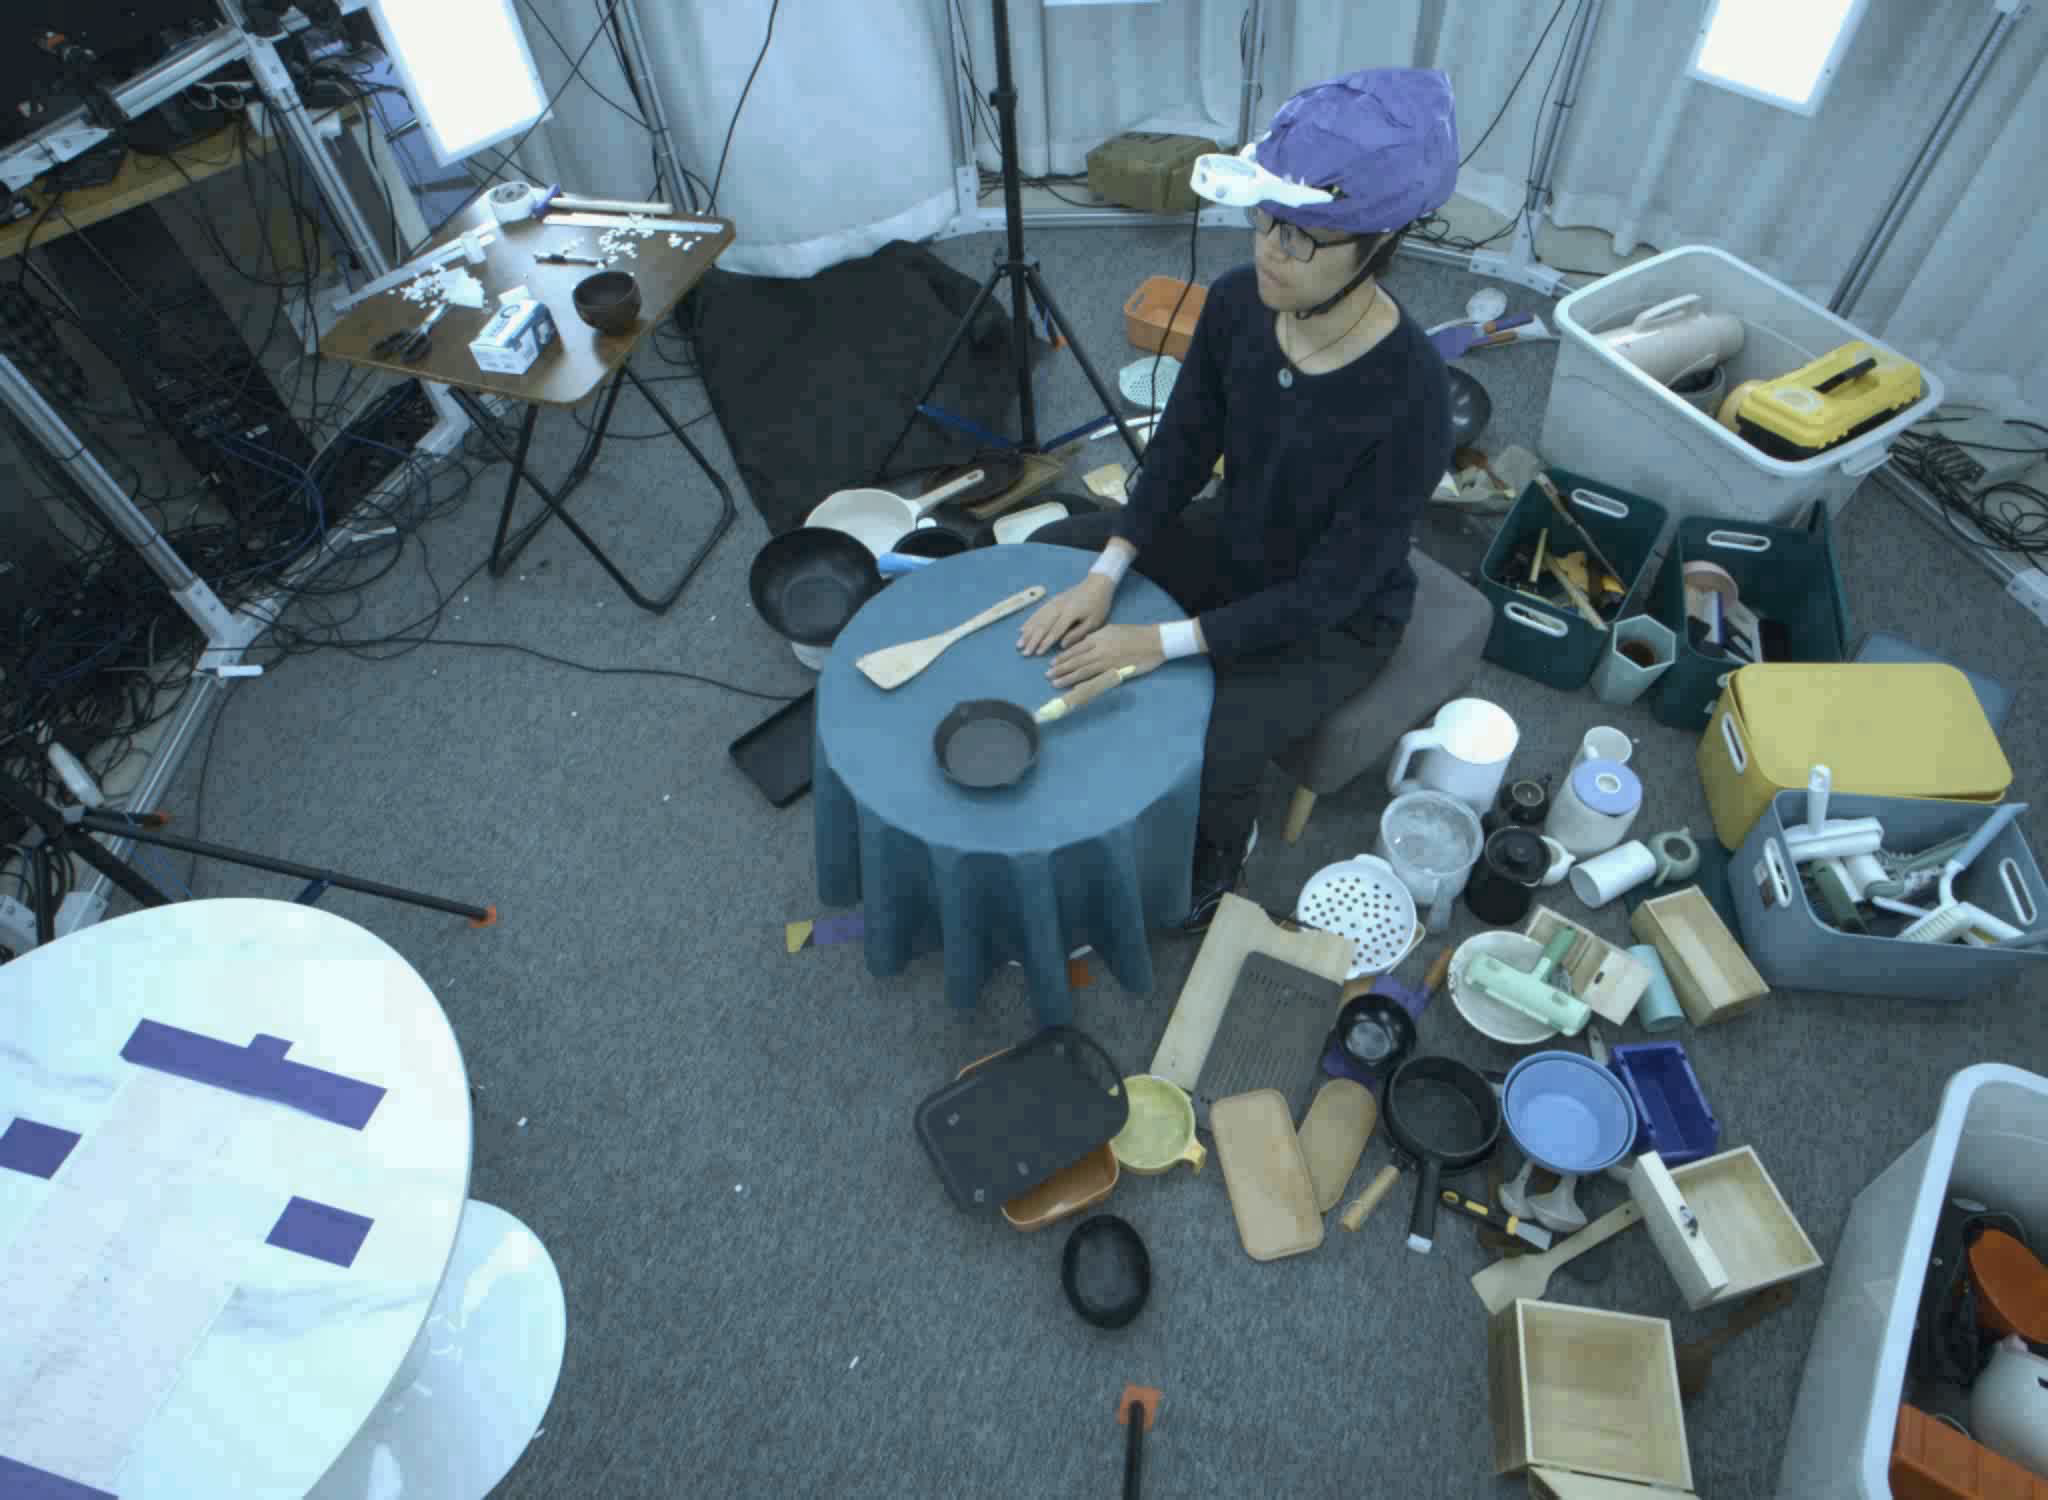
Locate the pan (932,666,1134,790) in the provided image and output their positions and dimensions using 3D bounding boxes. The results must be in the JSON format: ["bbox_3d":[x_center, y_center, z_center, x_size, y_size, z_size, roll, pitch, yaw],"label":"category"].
[{"bbox_3d":[0.021,-0.043,1.786,0.326,0.050,0.166,-25,58,-13],"label":"pan"}]

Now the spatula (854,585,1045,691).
[{"bbox_3d":[-0.105,-0.183,1.910,0.330,0.017,0.078,-30,60,-18],"label":"spatula"}]
